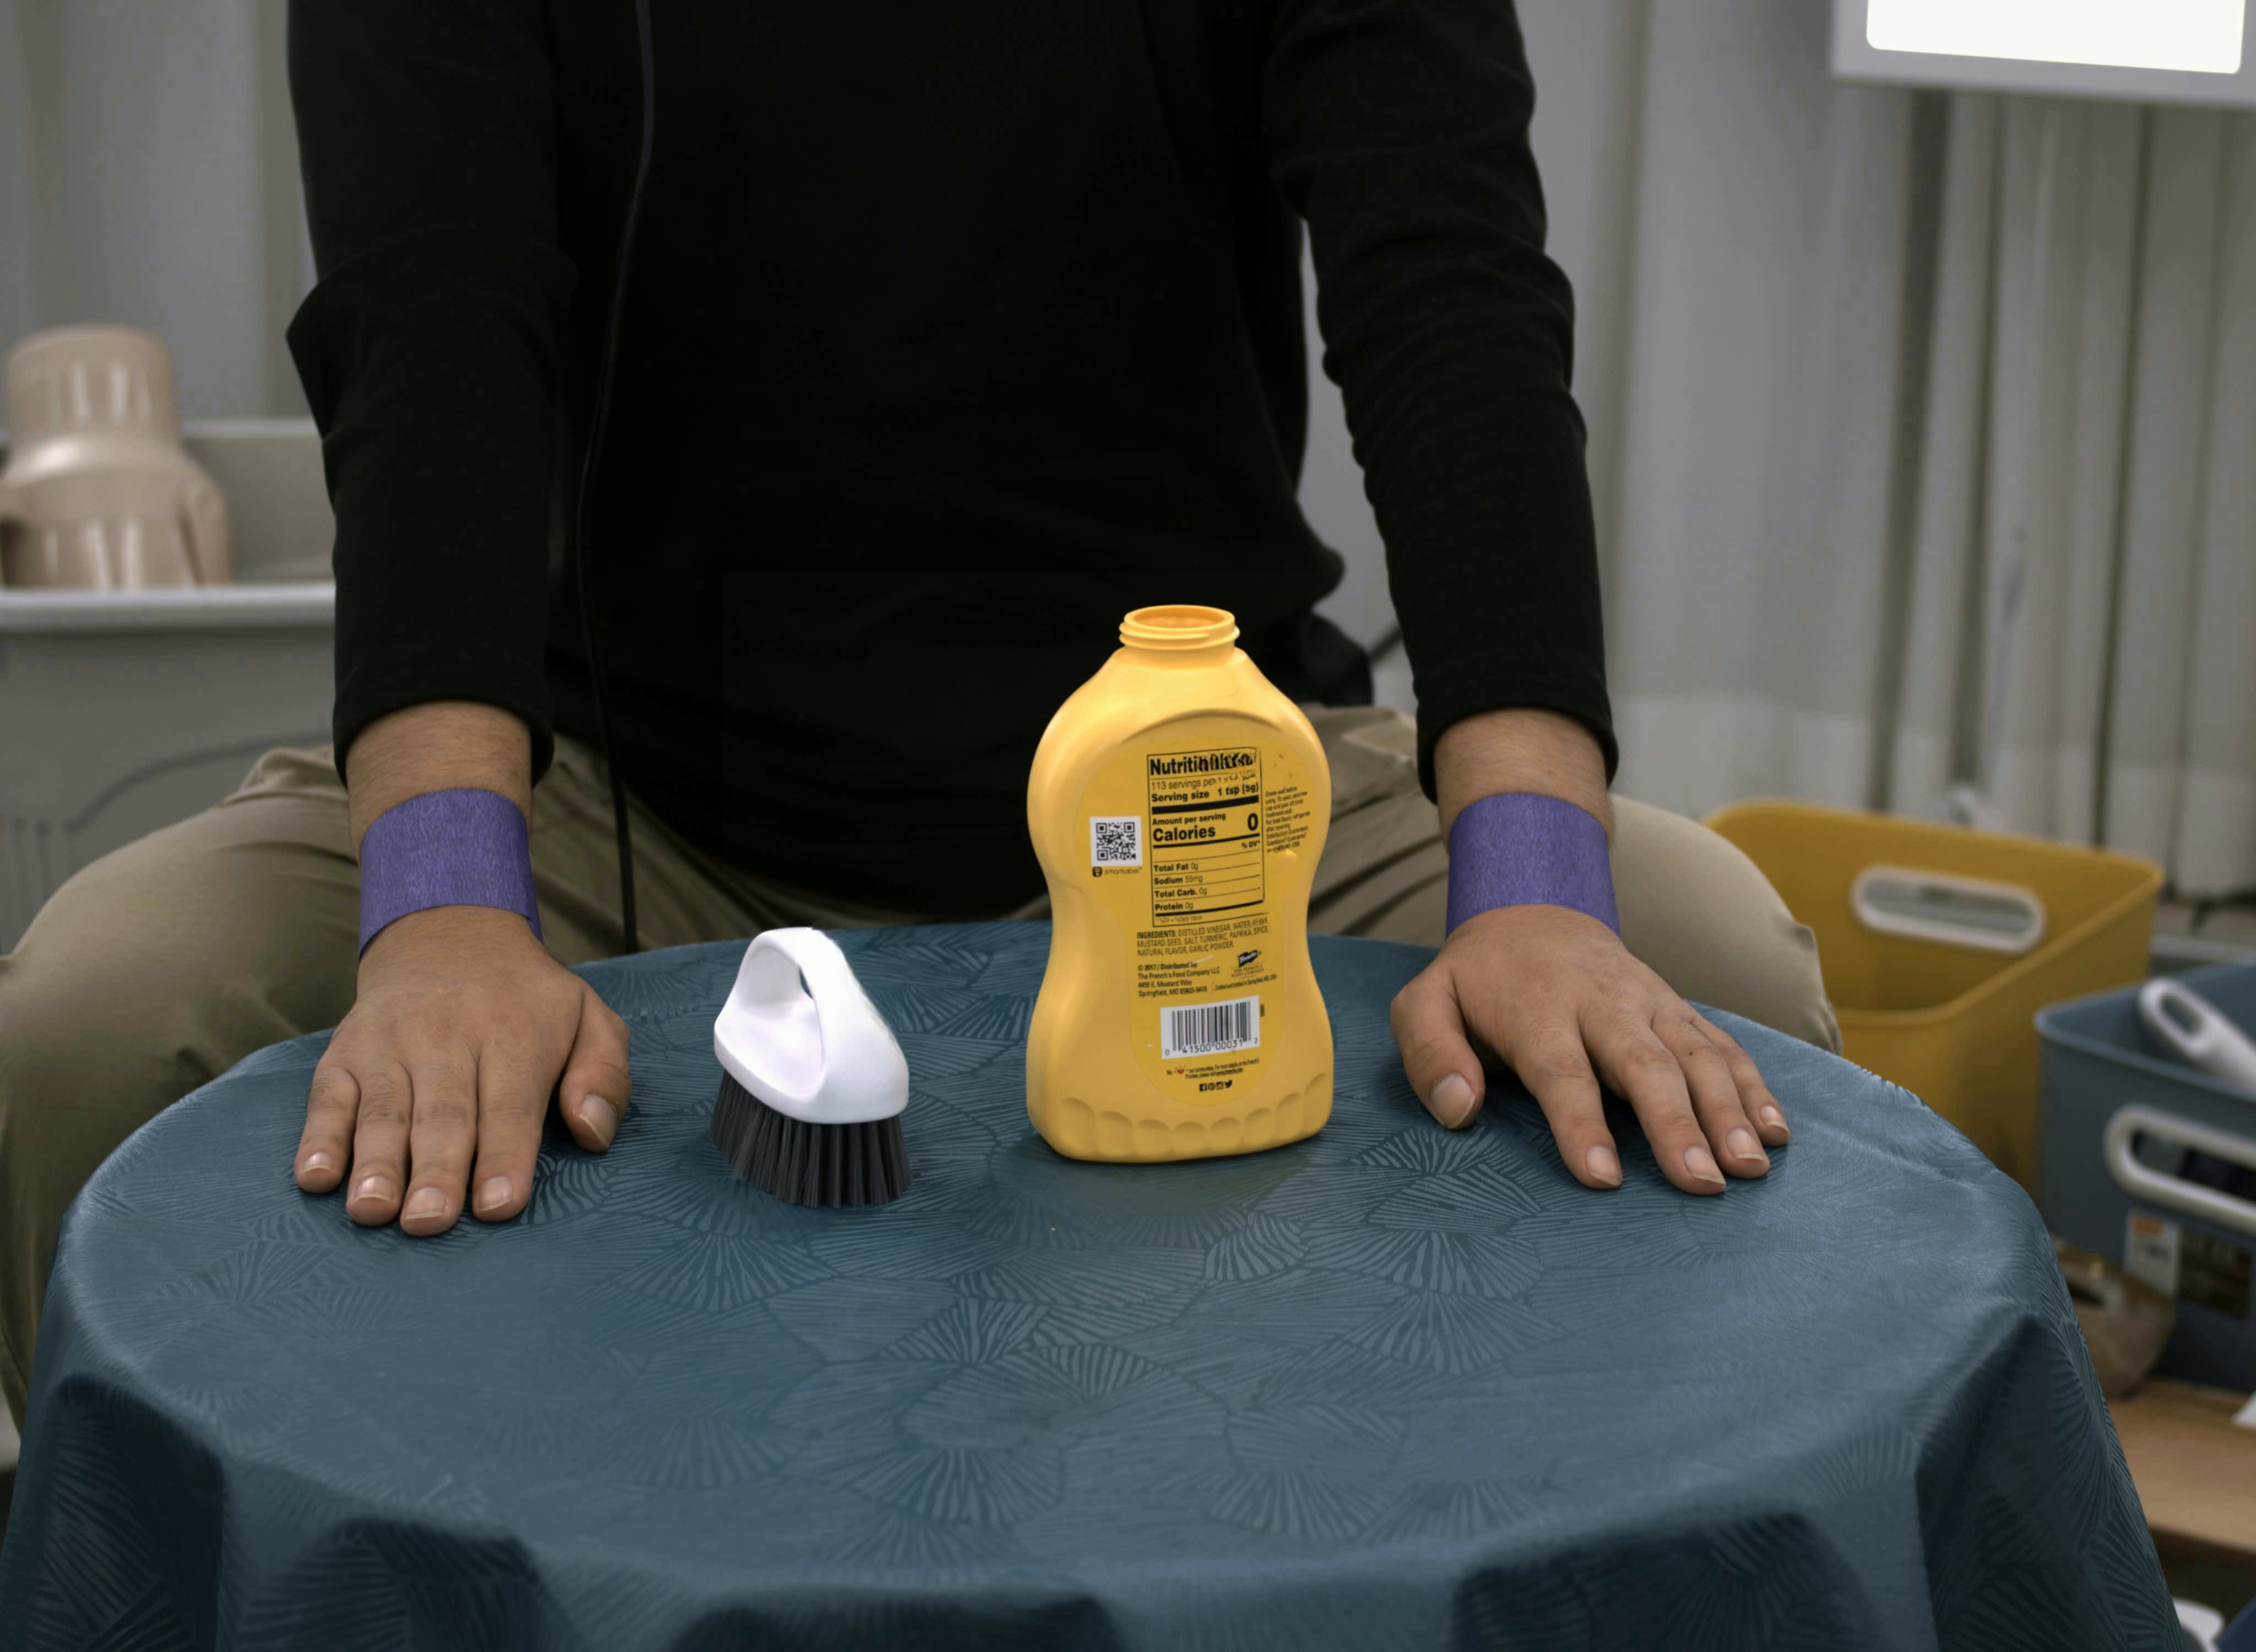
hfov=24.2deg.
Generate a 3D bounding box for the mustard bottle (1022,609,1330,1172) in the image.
[{"bbox_3d":[0.014,0.019,1.645,0.098,0.173,0.058,-7,14,-21],"label":"mustard bottle"}]

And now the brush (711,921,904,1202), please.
[{"bbox_3d":[-0.100,0.068,1.637,0.050,0.073,0.098,-4,18,-19],"label":"brush"}]
